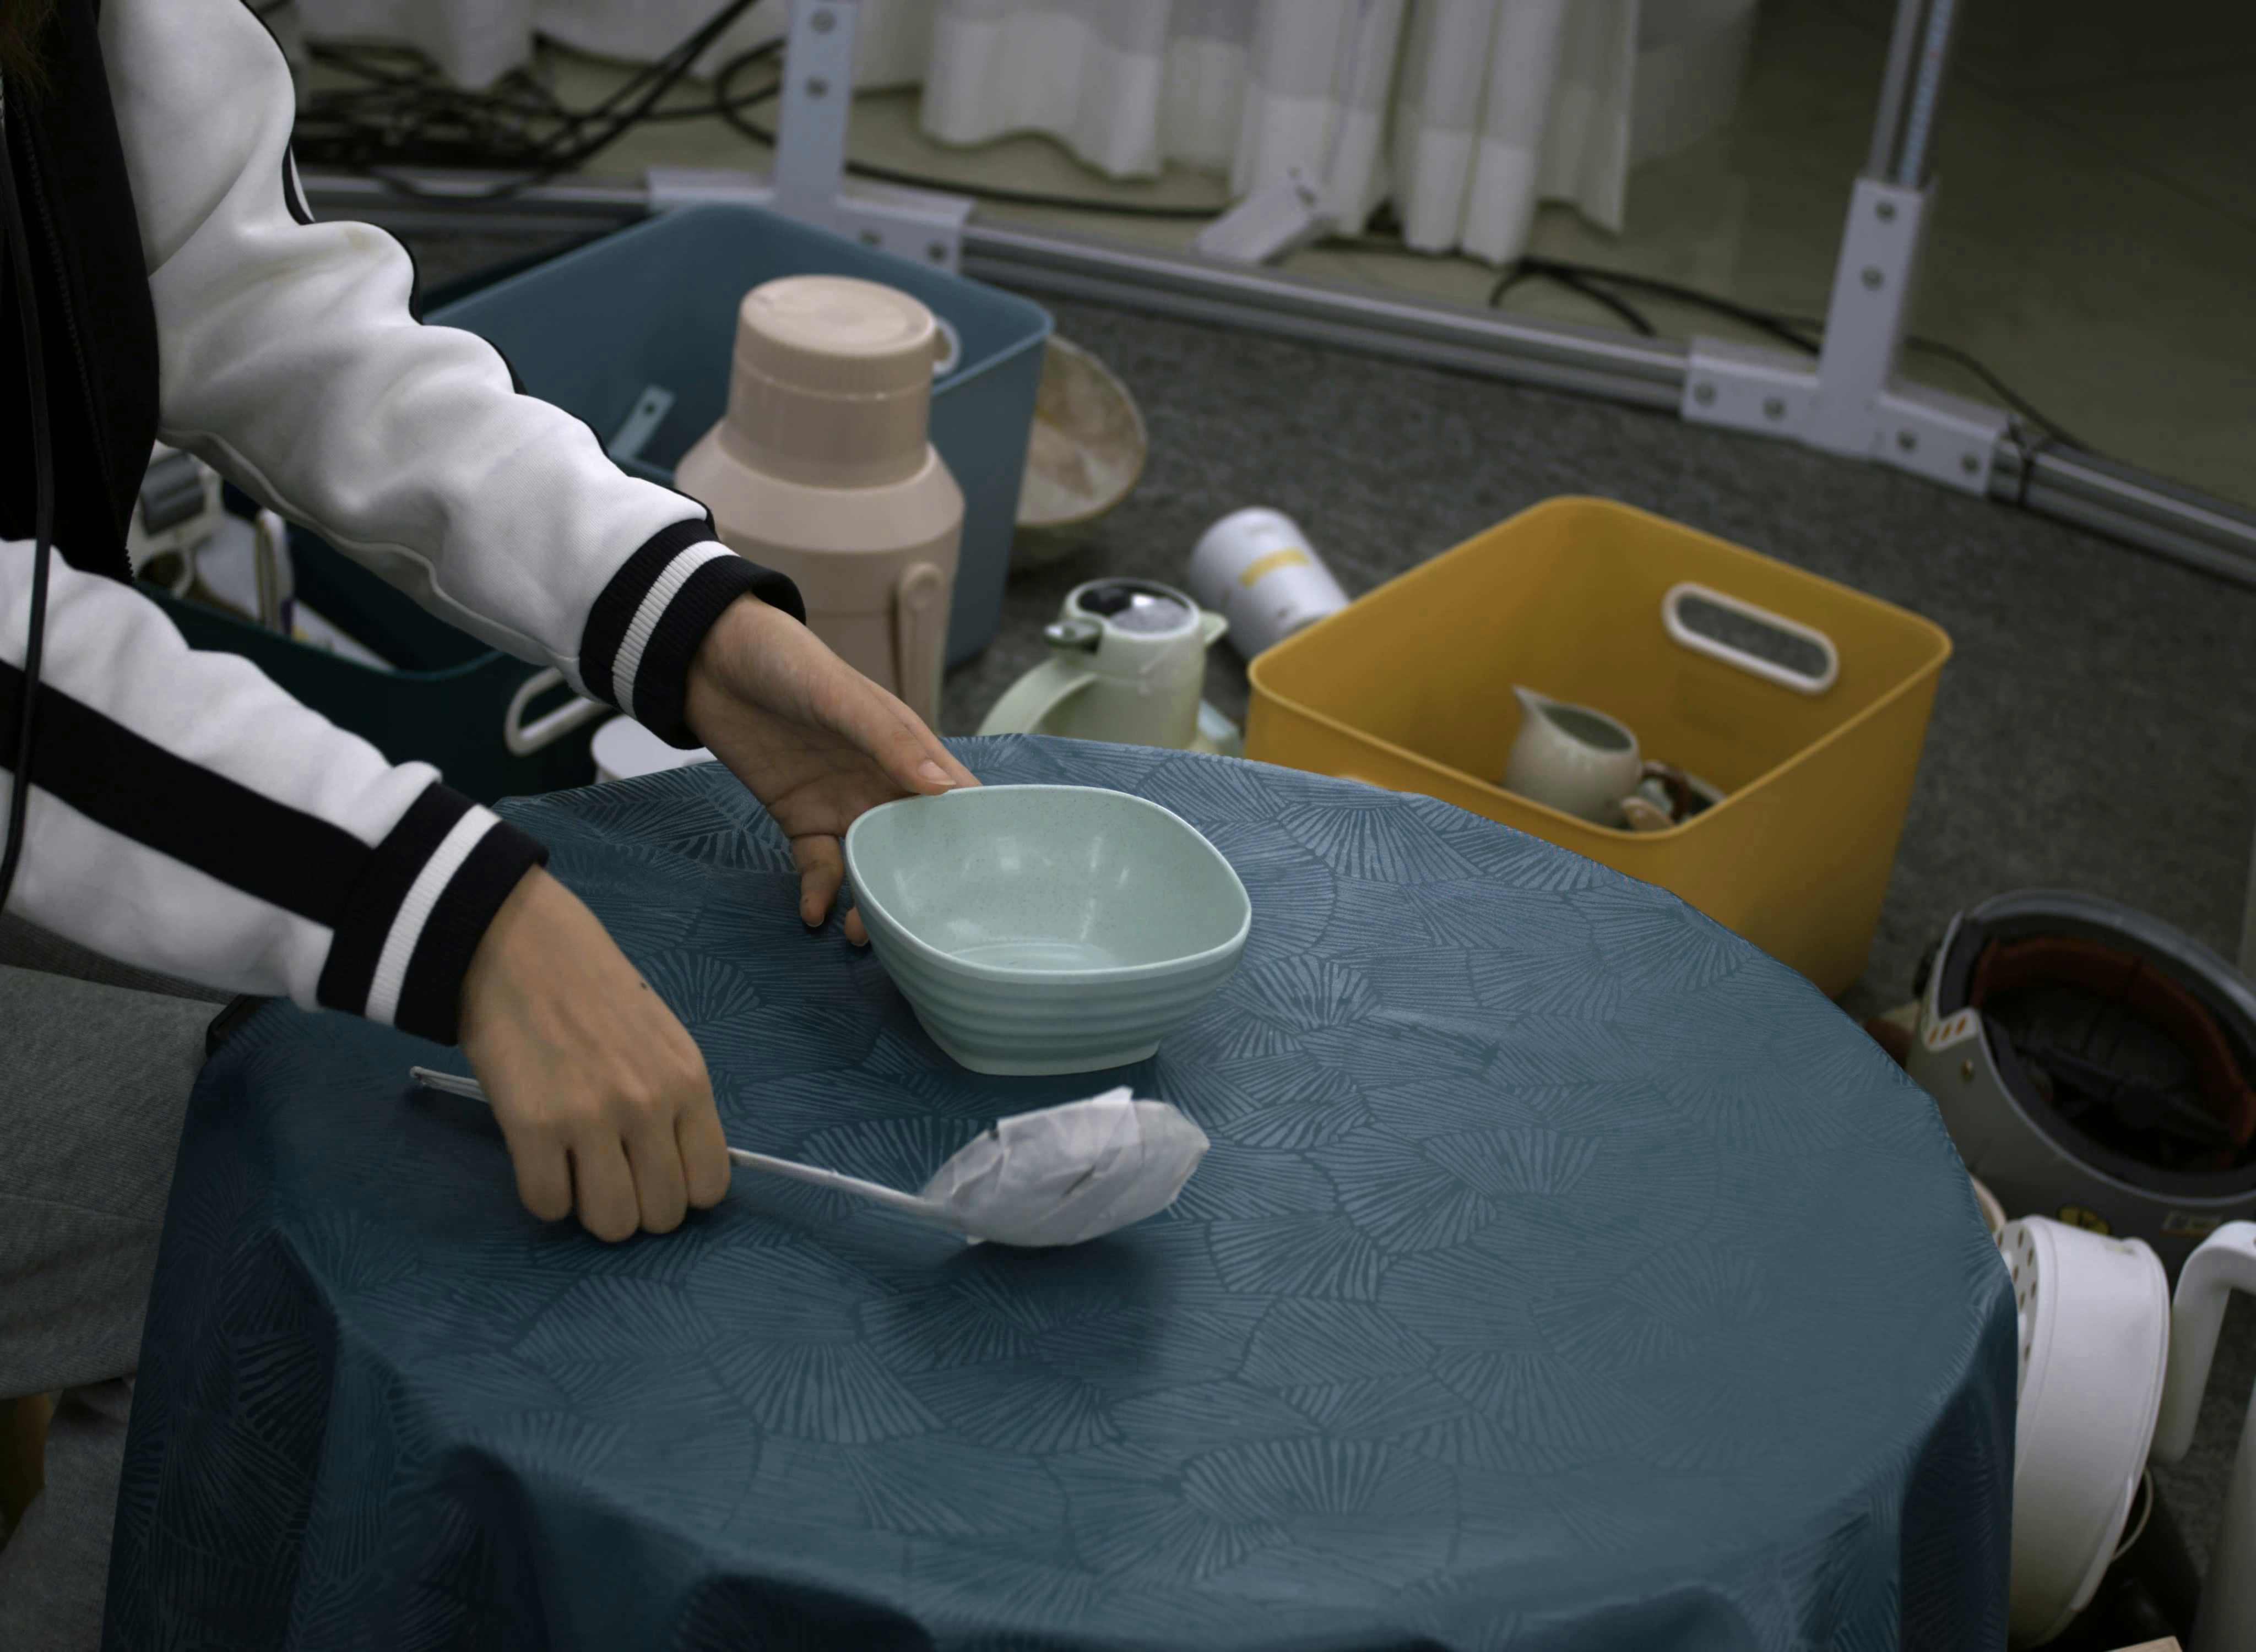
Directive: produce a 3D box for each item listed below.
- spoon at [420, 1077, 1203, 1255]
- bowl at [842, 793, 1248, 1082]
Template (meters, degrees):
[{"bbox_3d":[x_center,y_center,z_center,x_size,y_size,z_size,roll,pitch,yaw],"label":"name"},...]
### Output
[{"bbox_3d":[-0.108,0.096,1.779,0.278,0.100,0.059,12,65,25],"label":"spoon"},{"bbox_3d":[-0.032,0.045,1.892,0.151,0.058,0.152,5,27,-3],"label":"bowl"}]
